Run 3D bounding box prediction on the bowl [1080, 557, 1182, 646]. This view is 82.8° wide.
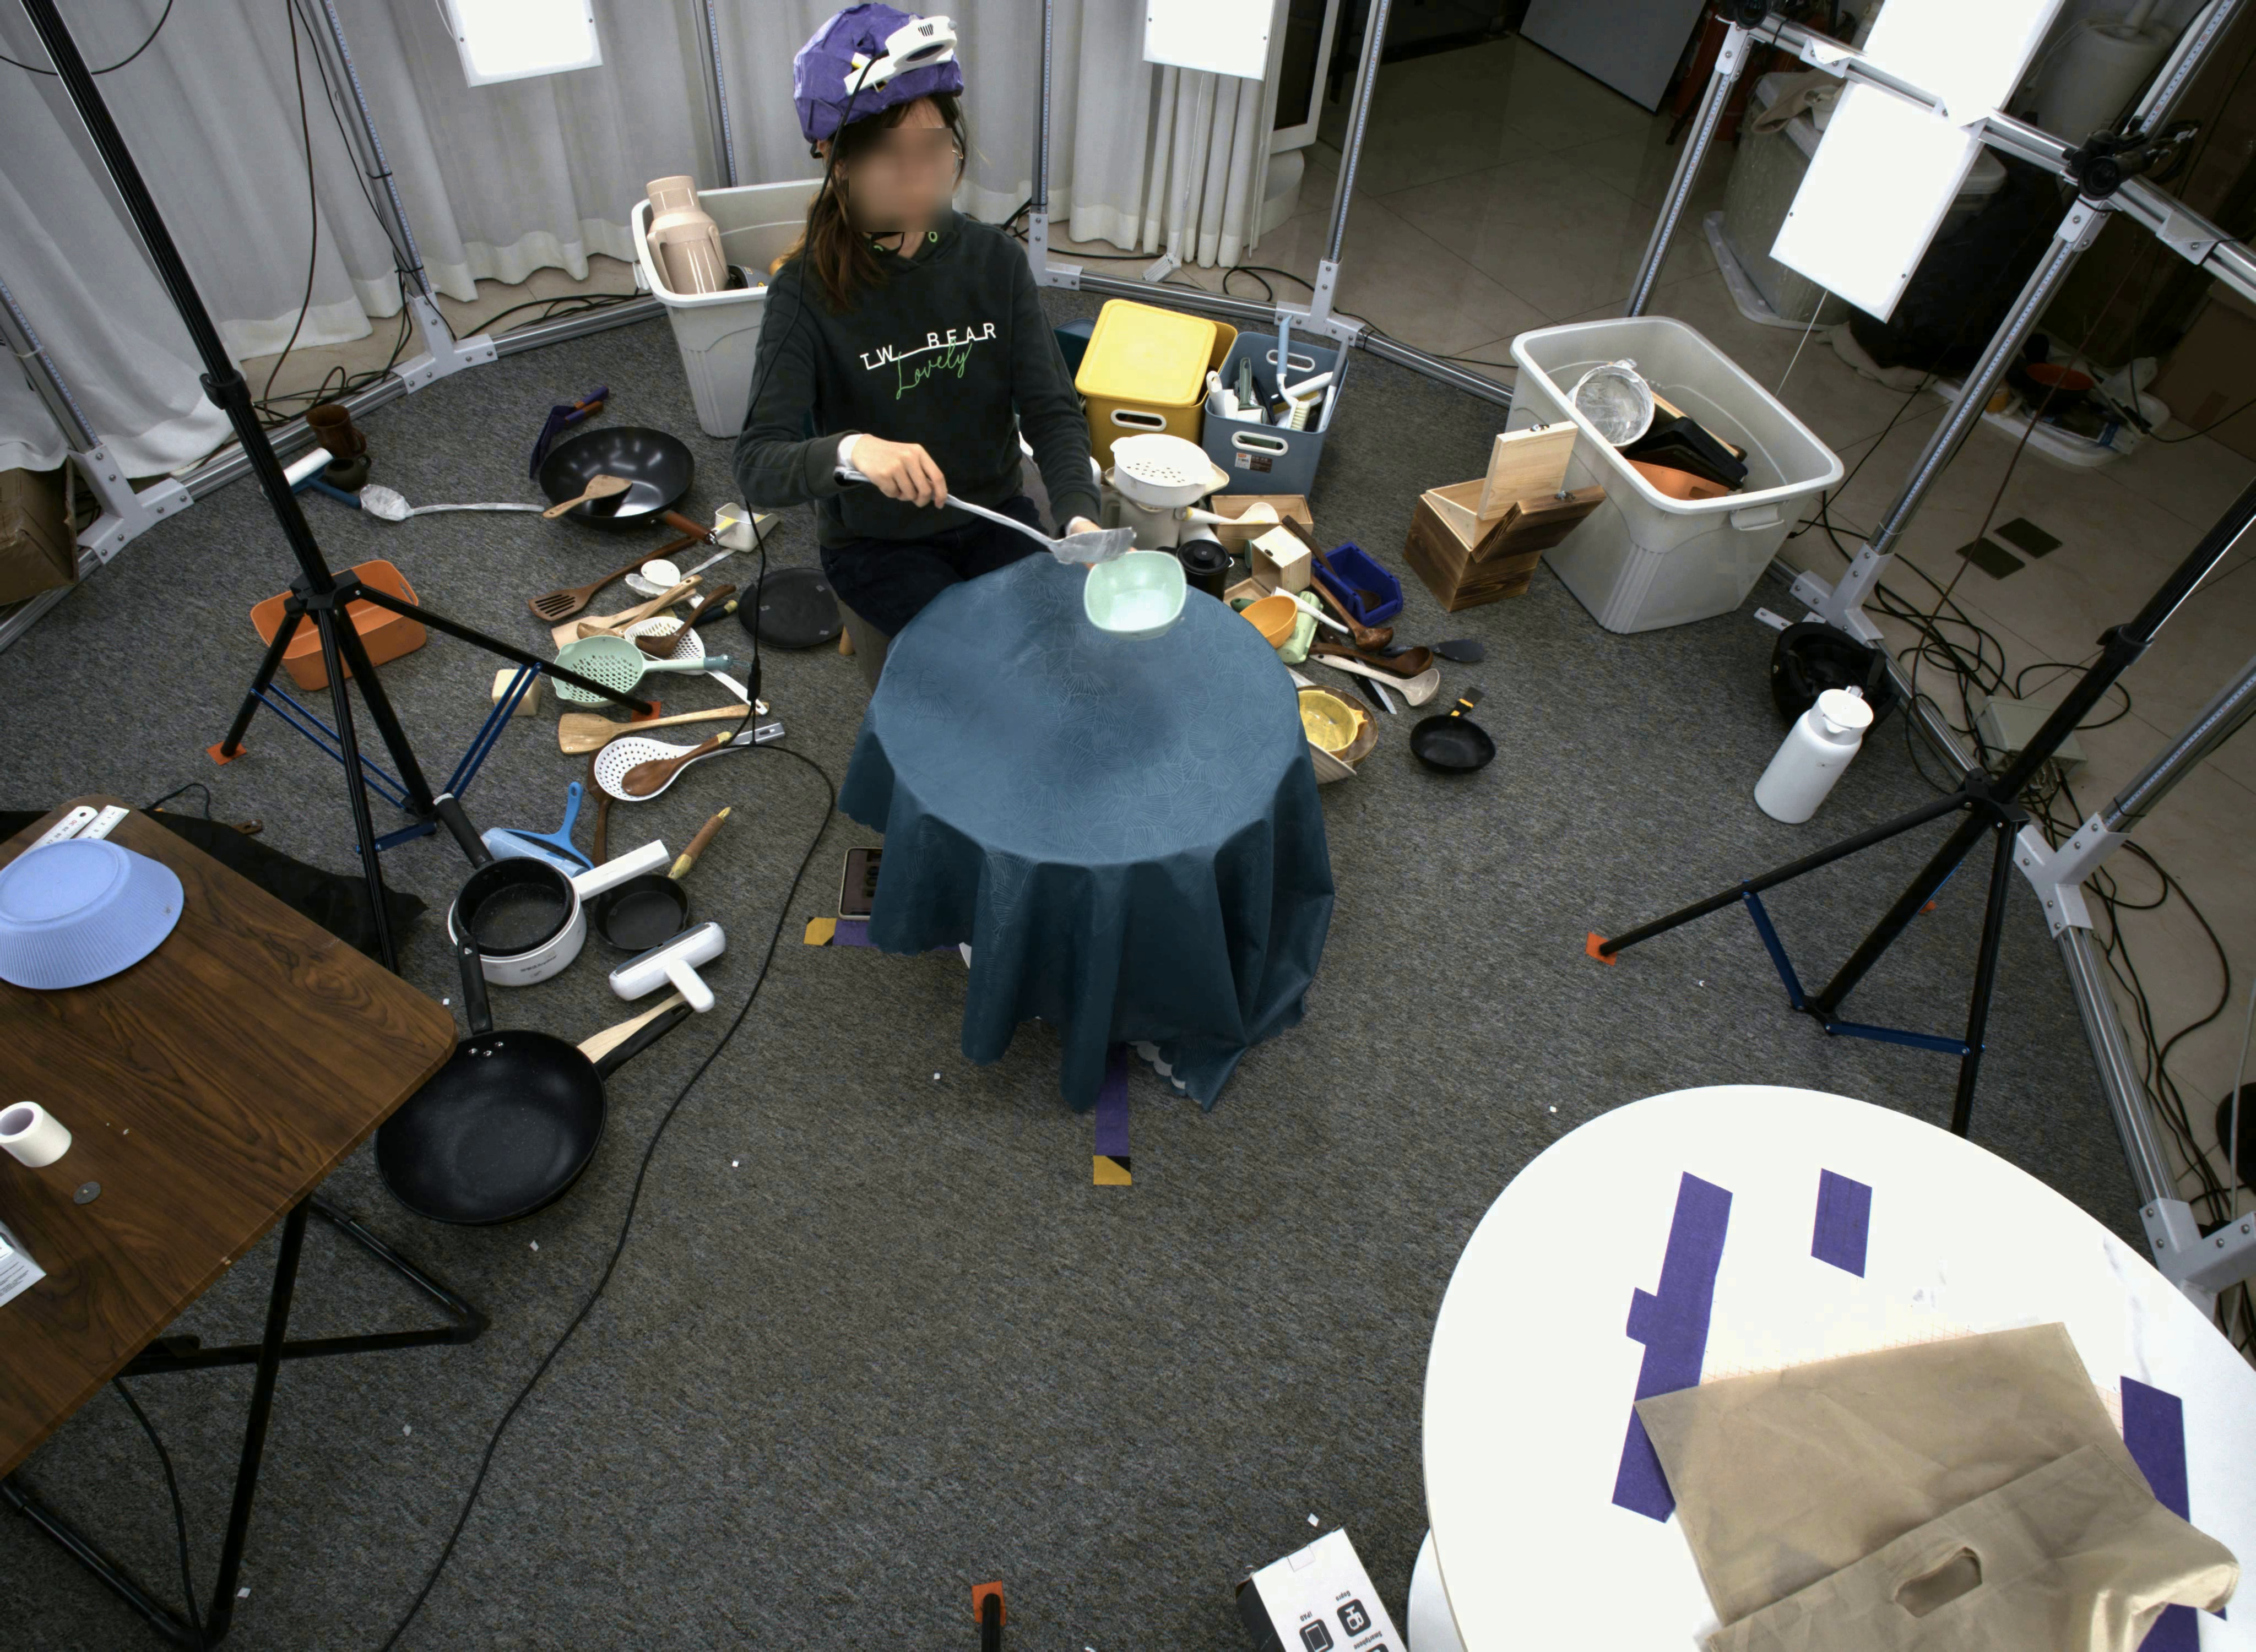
[{"bbox_3d":[0.007,-0.301,1.776,0.151,0.057,0.155,-4,58,6],"label":"bowl"}]

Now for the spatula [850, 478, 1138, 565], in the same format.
[{"bbox_3d":[-0.166,-0.394,1.640,0.363,0.098,0.045,16,73,-11],"label":"spatula"}]
